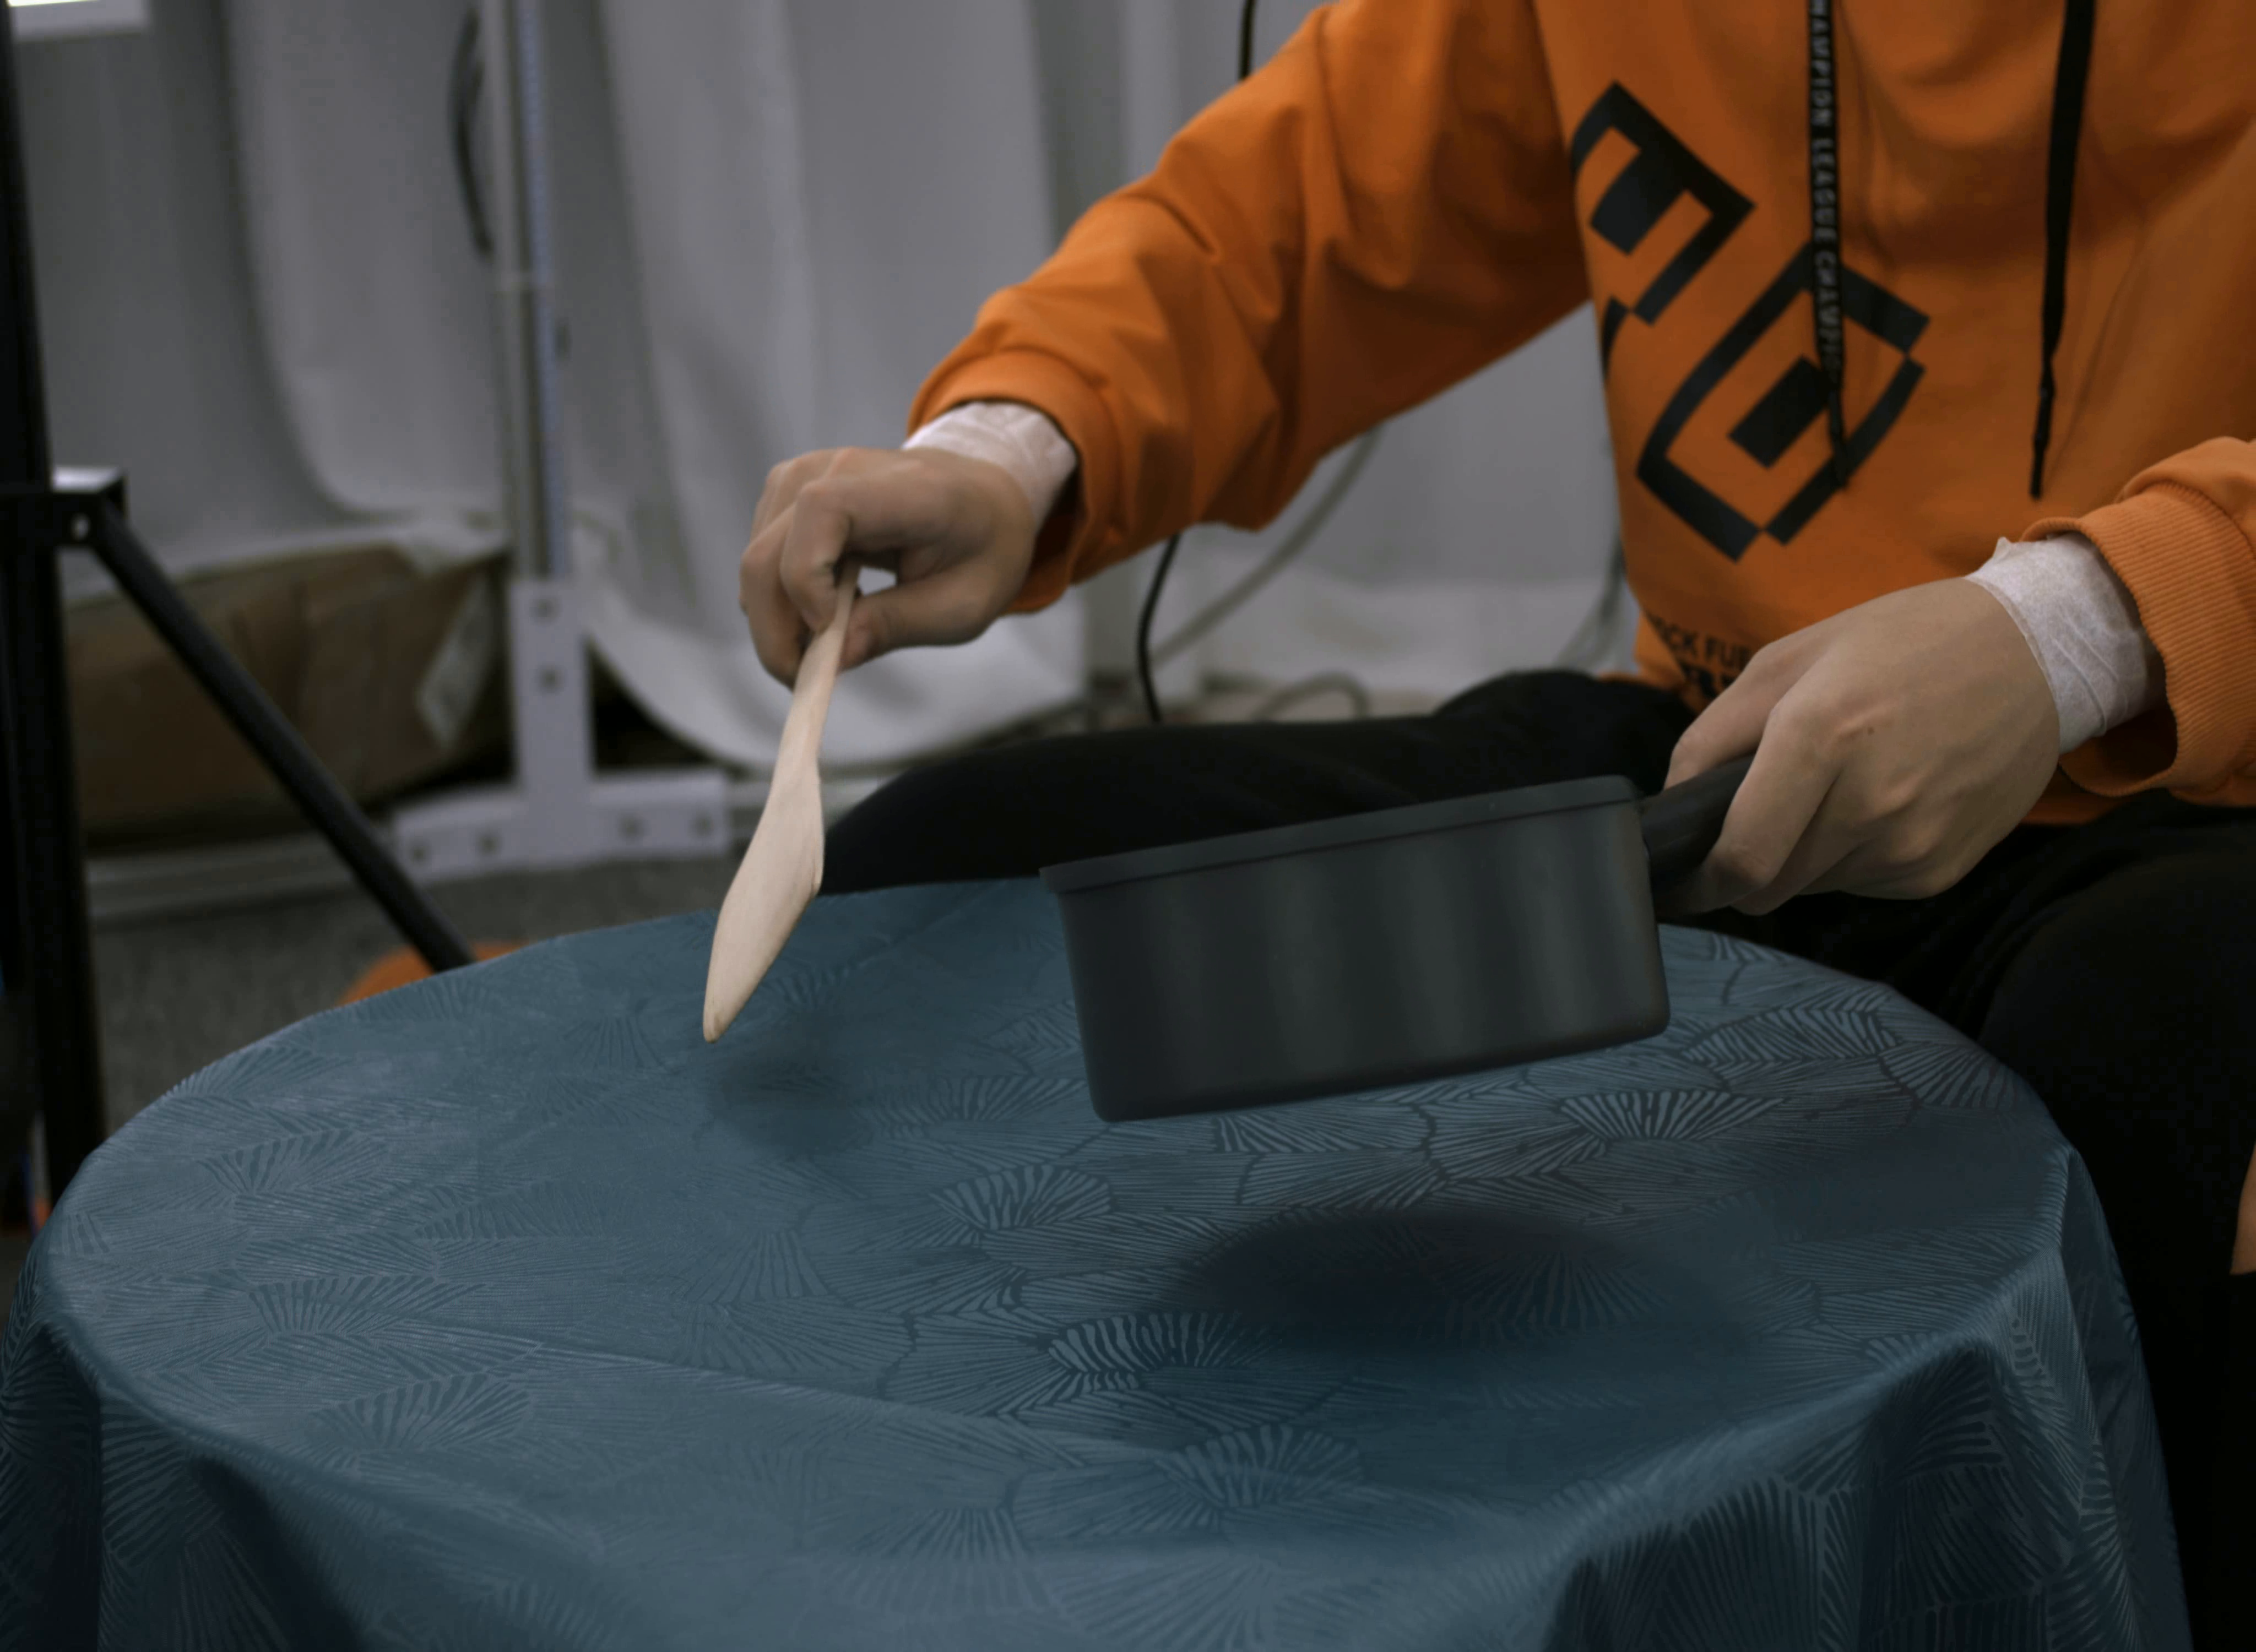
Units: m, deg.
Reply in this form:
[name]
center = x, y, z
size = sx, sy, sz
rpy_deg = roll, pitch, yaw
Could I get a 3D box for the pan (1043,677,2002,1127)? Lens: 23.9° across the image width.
[pan]
center = 0.129, 0.022, 1.514
size = 0.321, 0.087, 0.175
rpy_deg = -10, 0, -34

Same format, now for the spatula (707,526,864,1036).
[spatula]
center = -0.107, -0.030, 1.765
size = 0.010, 0.073, 0.294
rpy_deg = 27, 26, -11
